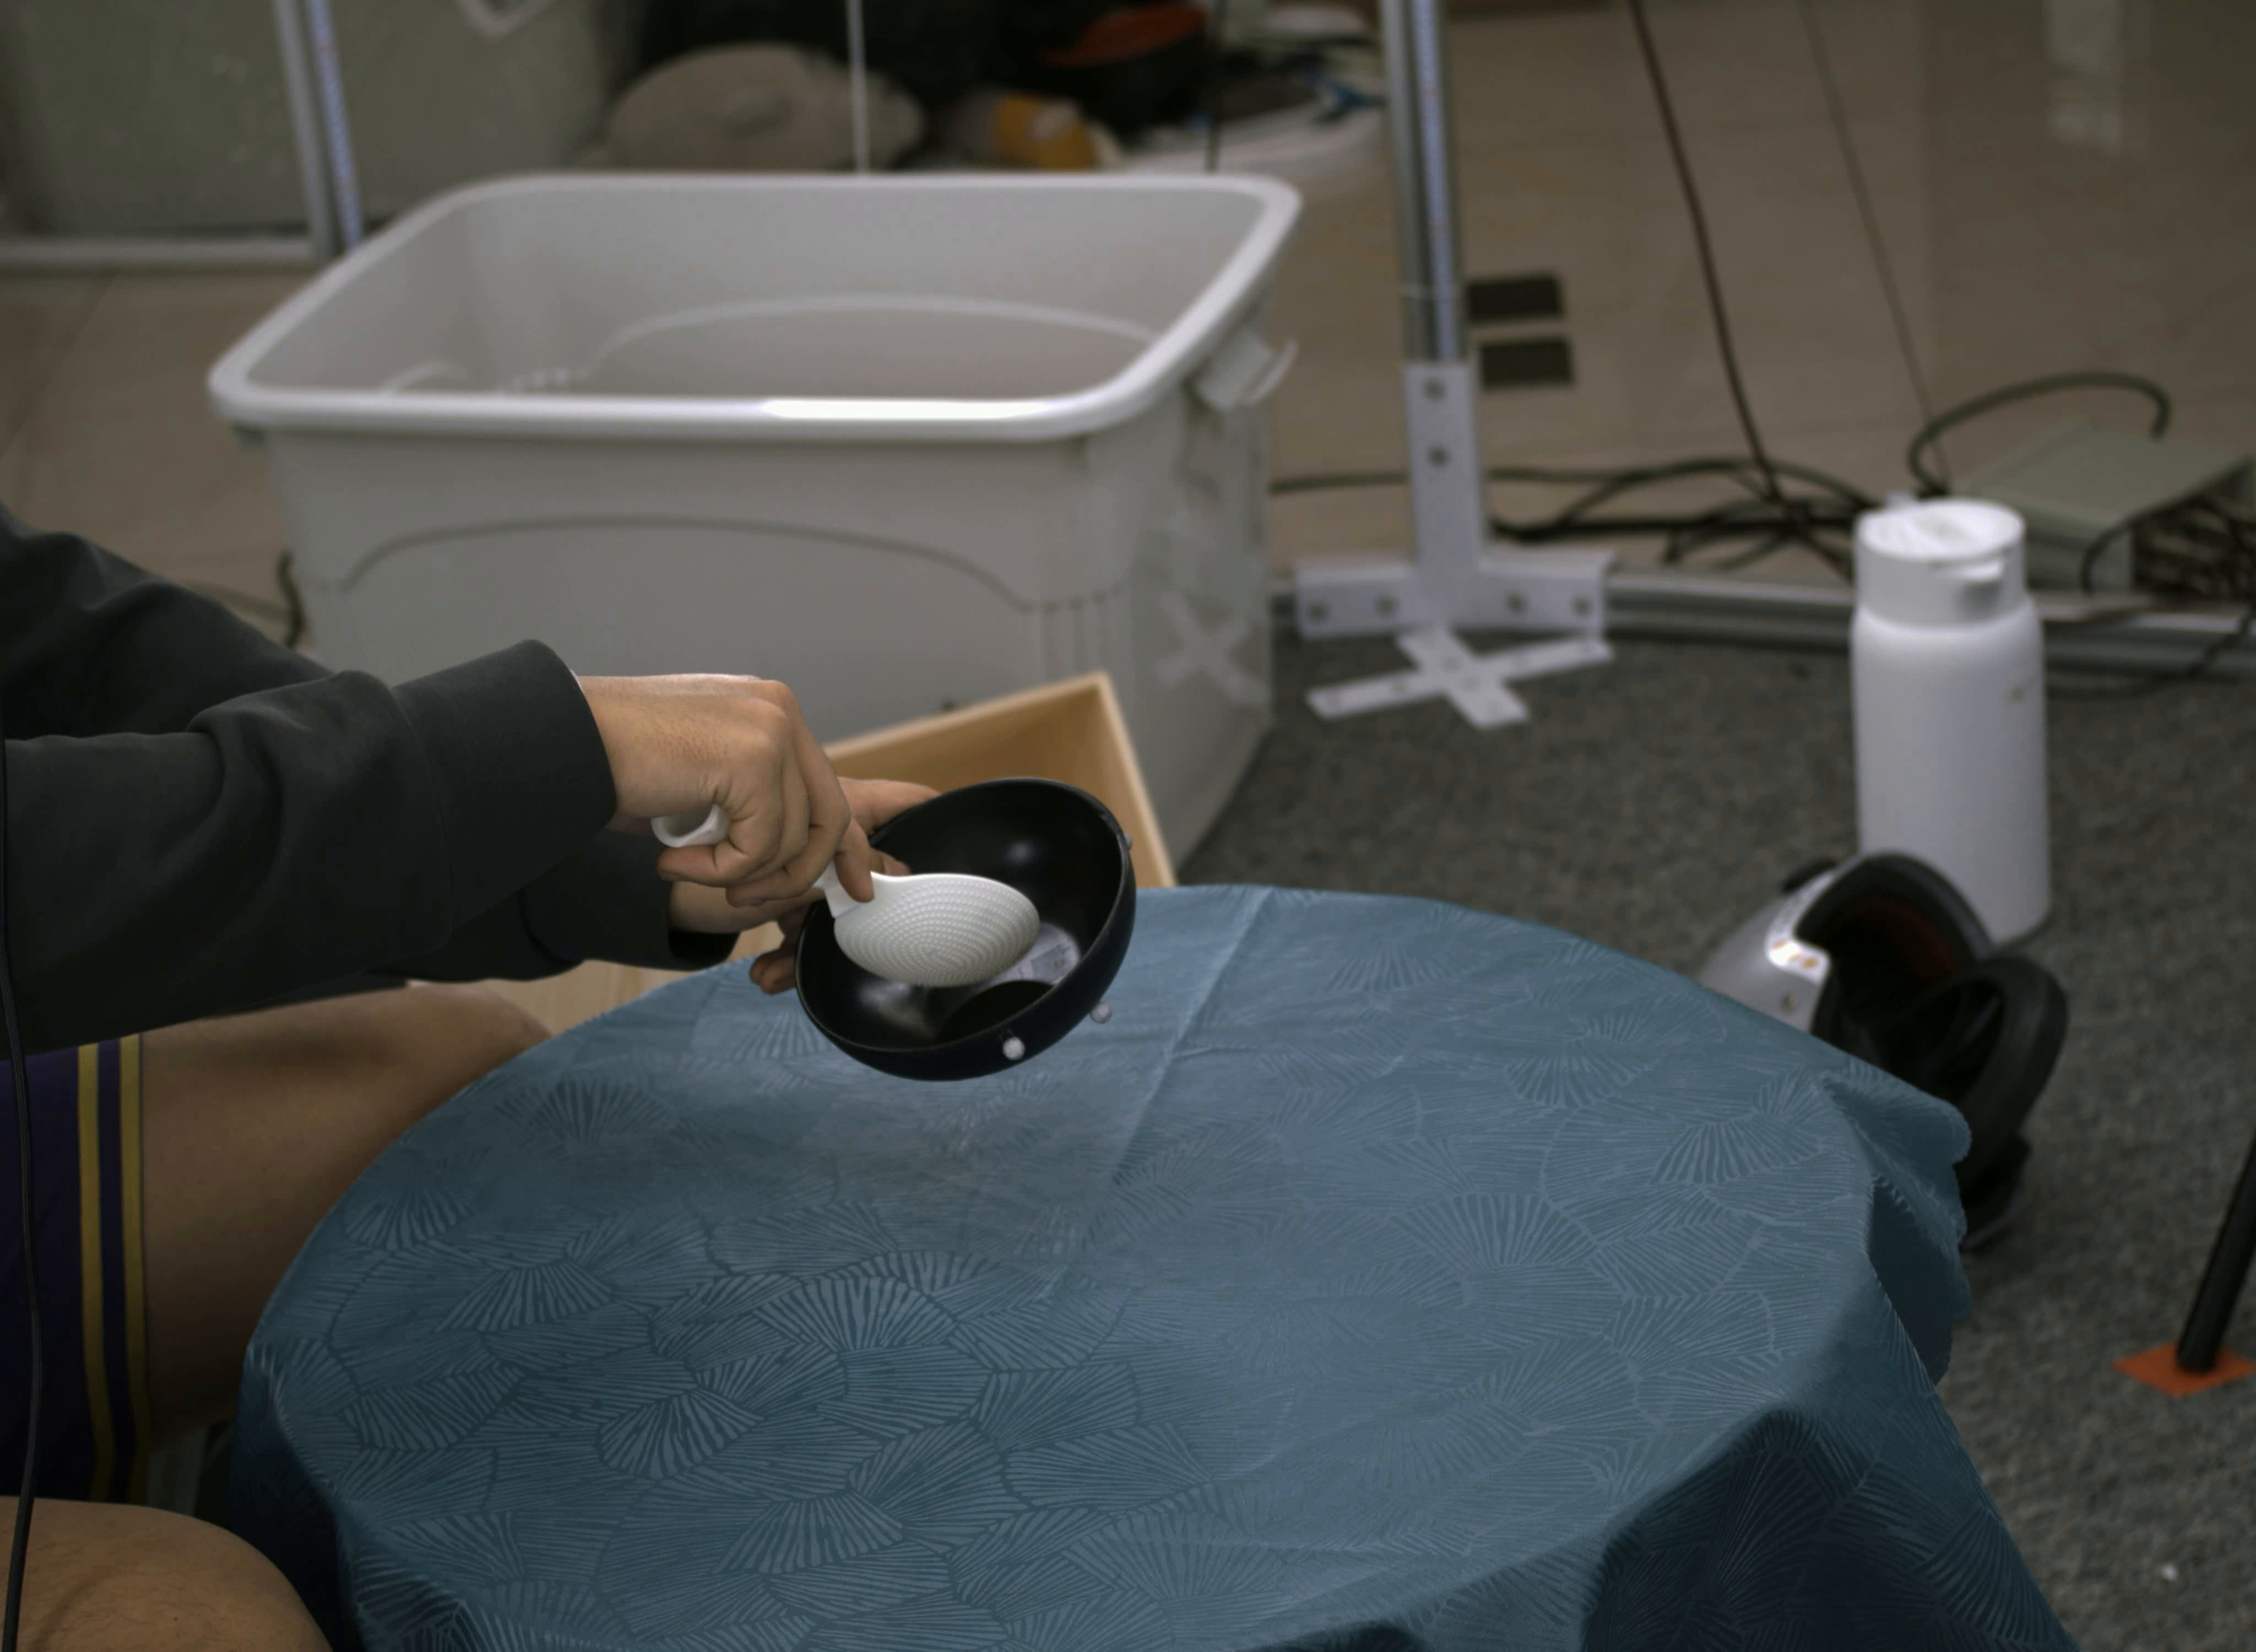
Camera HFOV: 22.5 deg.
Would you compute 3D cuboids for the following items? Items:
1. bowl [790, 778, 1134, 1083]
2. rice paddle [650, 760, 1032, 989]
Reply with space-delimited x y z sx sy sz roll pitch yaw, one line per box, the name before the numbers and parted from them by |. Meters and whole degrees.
bowl | -0.056 0.048 2.150 0.140 0.050 0.137 -17 43 16
rice paddle | -0.104 0.022 2.082 0.069 0.207 0.029 -28 59 22
